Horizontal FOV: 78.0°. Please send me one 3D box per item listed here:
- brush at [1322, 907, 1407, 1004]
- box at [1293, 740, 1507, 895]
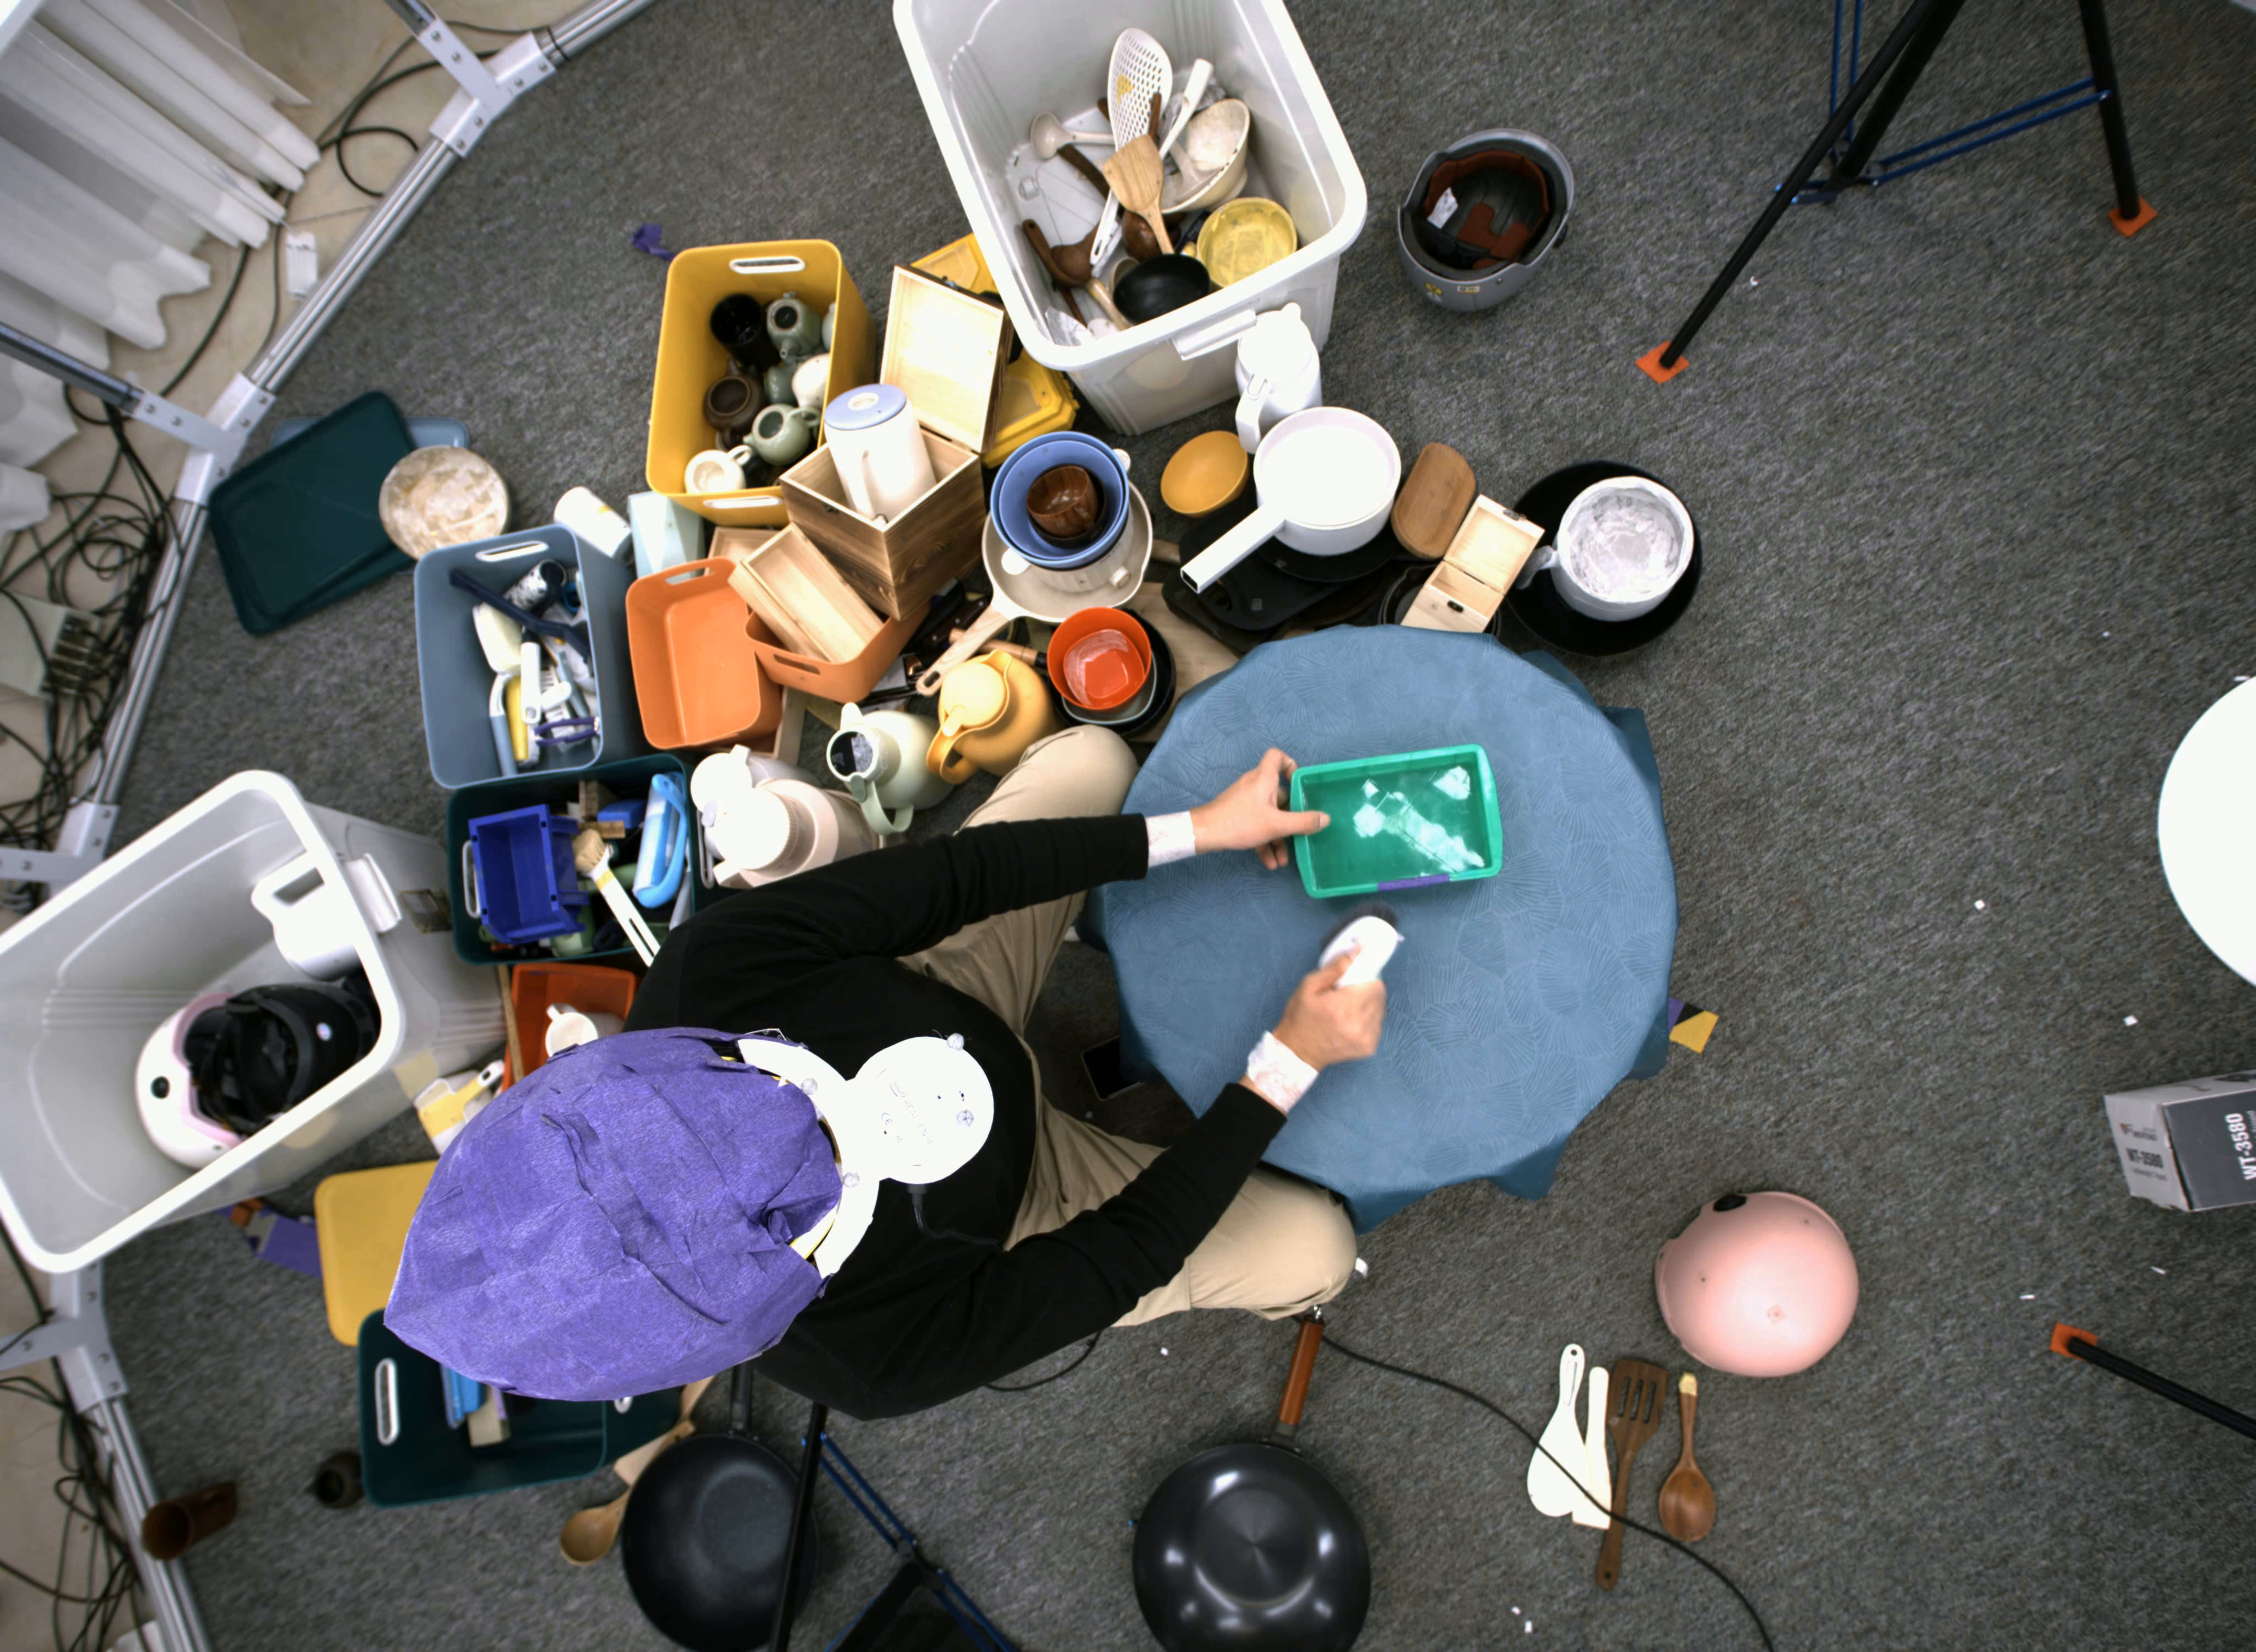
[{"bbox_3d":[0.229,0.133,1.351,0.050,0.070,0.101,33,131,-14],"label":"brush"},{"bbox_3d":[0.280,-0.007,1.431,0.211,0.065,0.138,-8,87,9],"label":"box"}]
